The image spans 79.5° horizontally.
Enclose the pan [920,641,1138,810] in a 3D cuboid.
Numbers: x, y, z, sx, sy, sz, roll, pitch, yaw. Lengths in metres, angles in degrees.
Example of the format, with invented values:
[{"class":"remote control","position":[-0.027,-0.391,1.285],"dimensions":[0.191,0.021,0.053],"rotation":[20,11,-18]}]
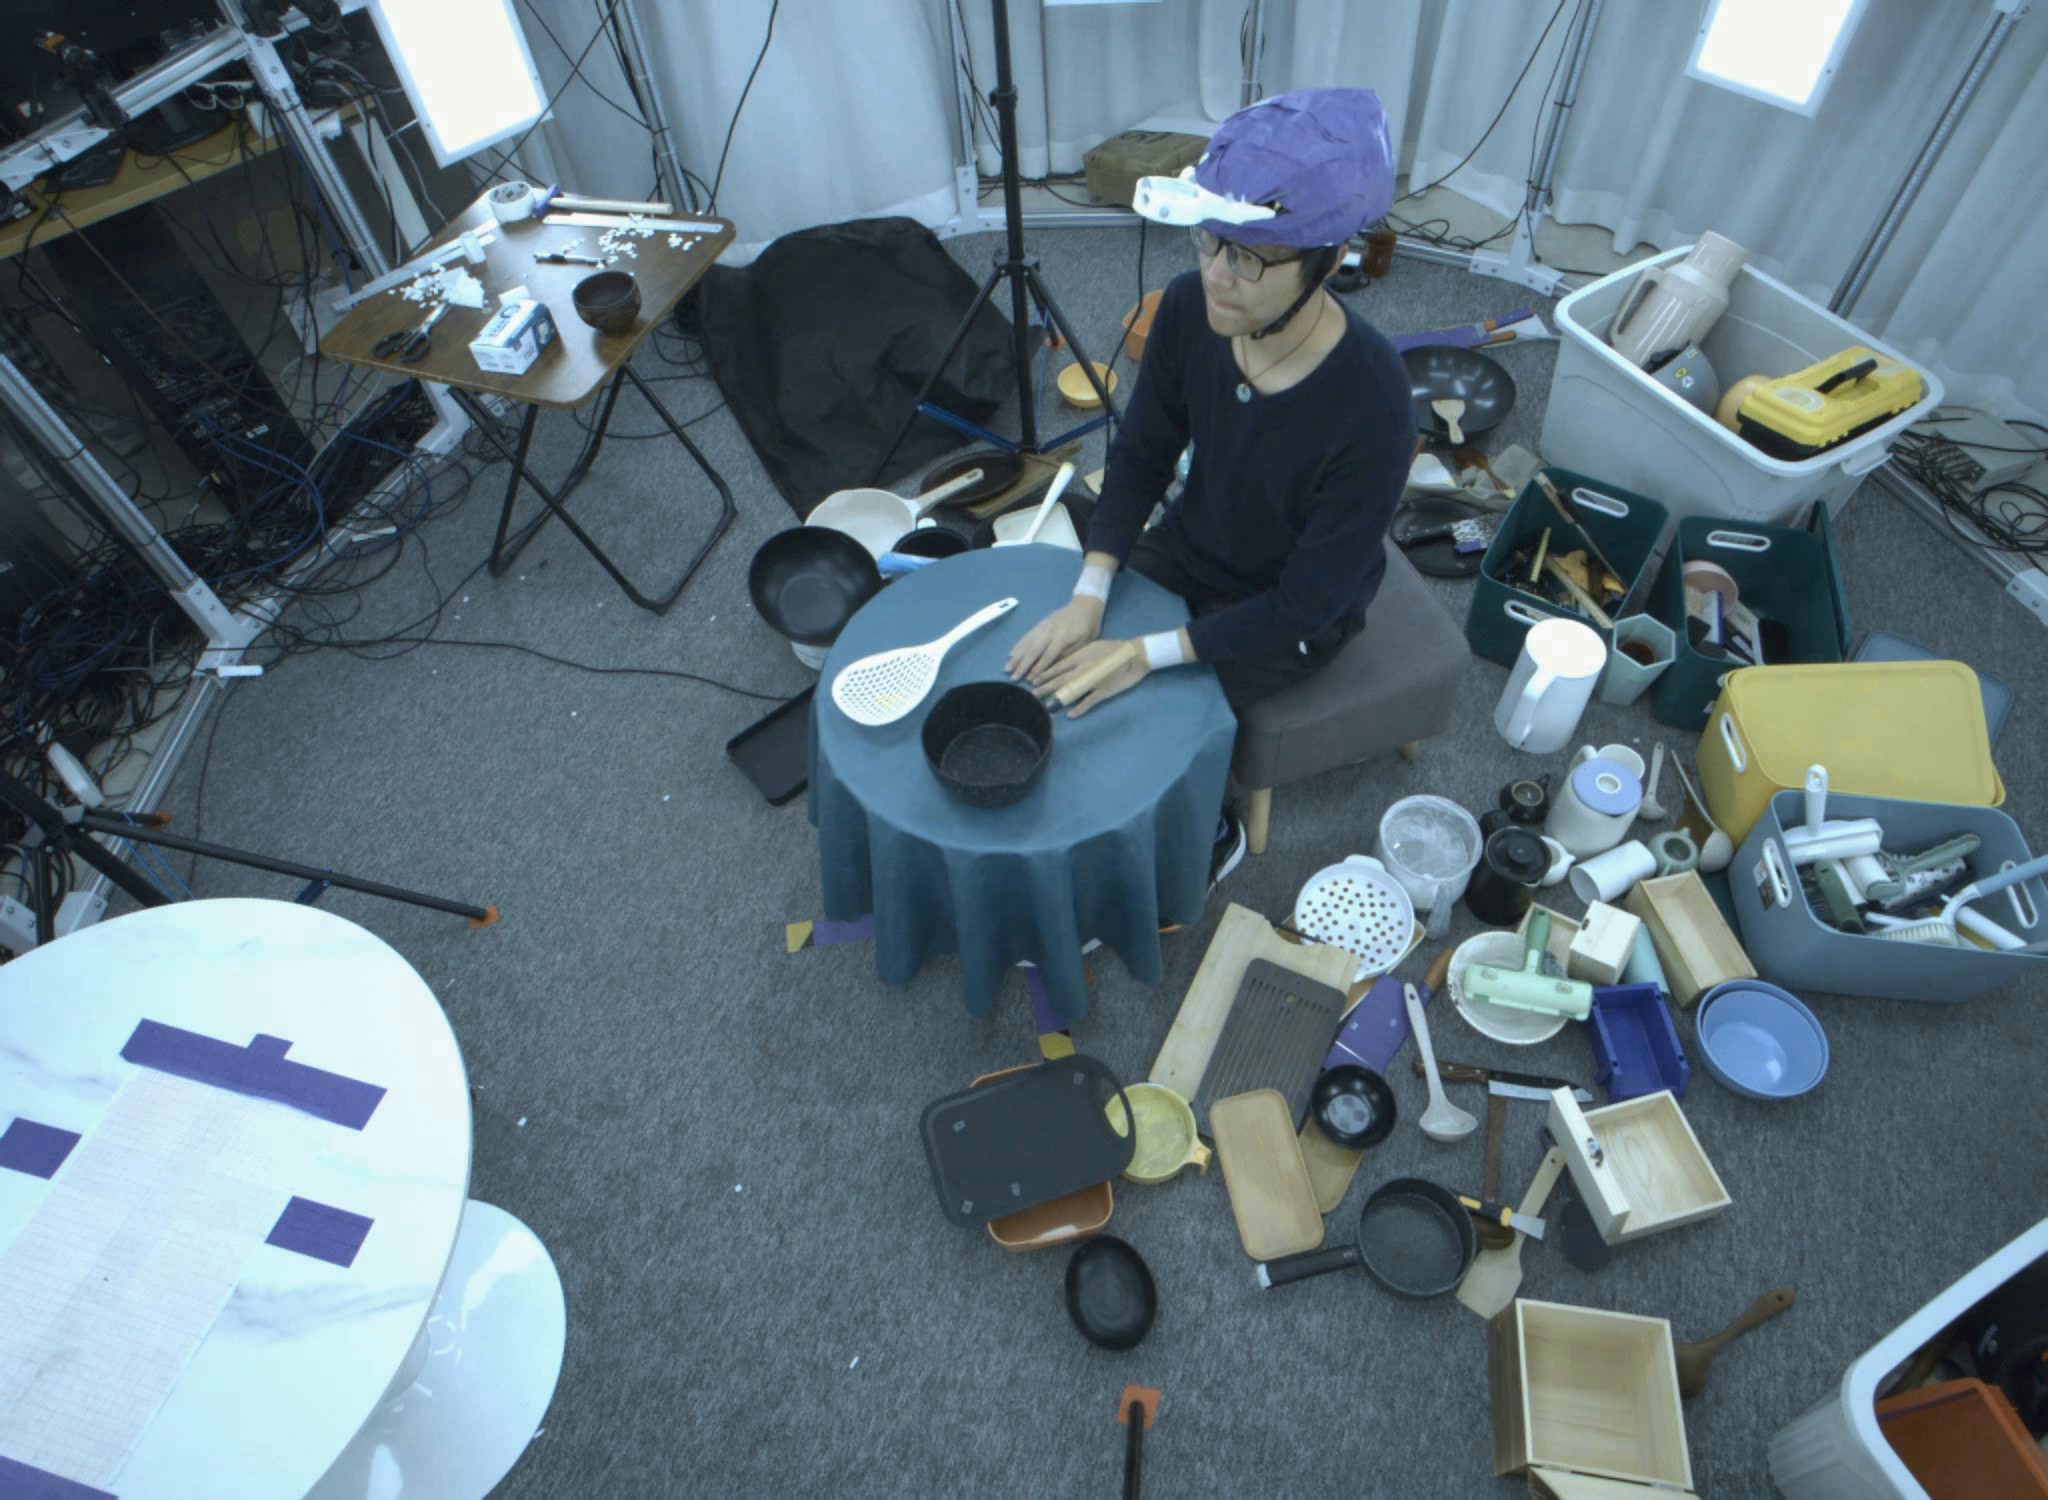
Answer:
[{"class":"pan","position":[0.016,-0.045,1.752],"dimensions":[0.345,0.109,0.203],"rotation":[-30,58,-16]}]

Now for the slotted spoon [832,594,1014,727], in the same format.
[{"class":"slotted spoon","position":[-0.138,-0.147,1.869],"dimensions":[0.134,0.051,0.350],"rotation":[37,65,27]}]
